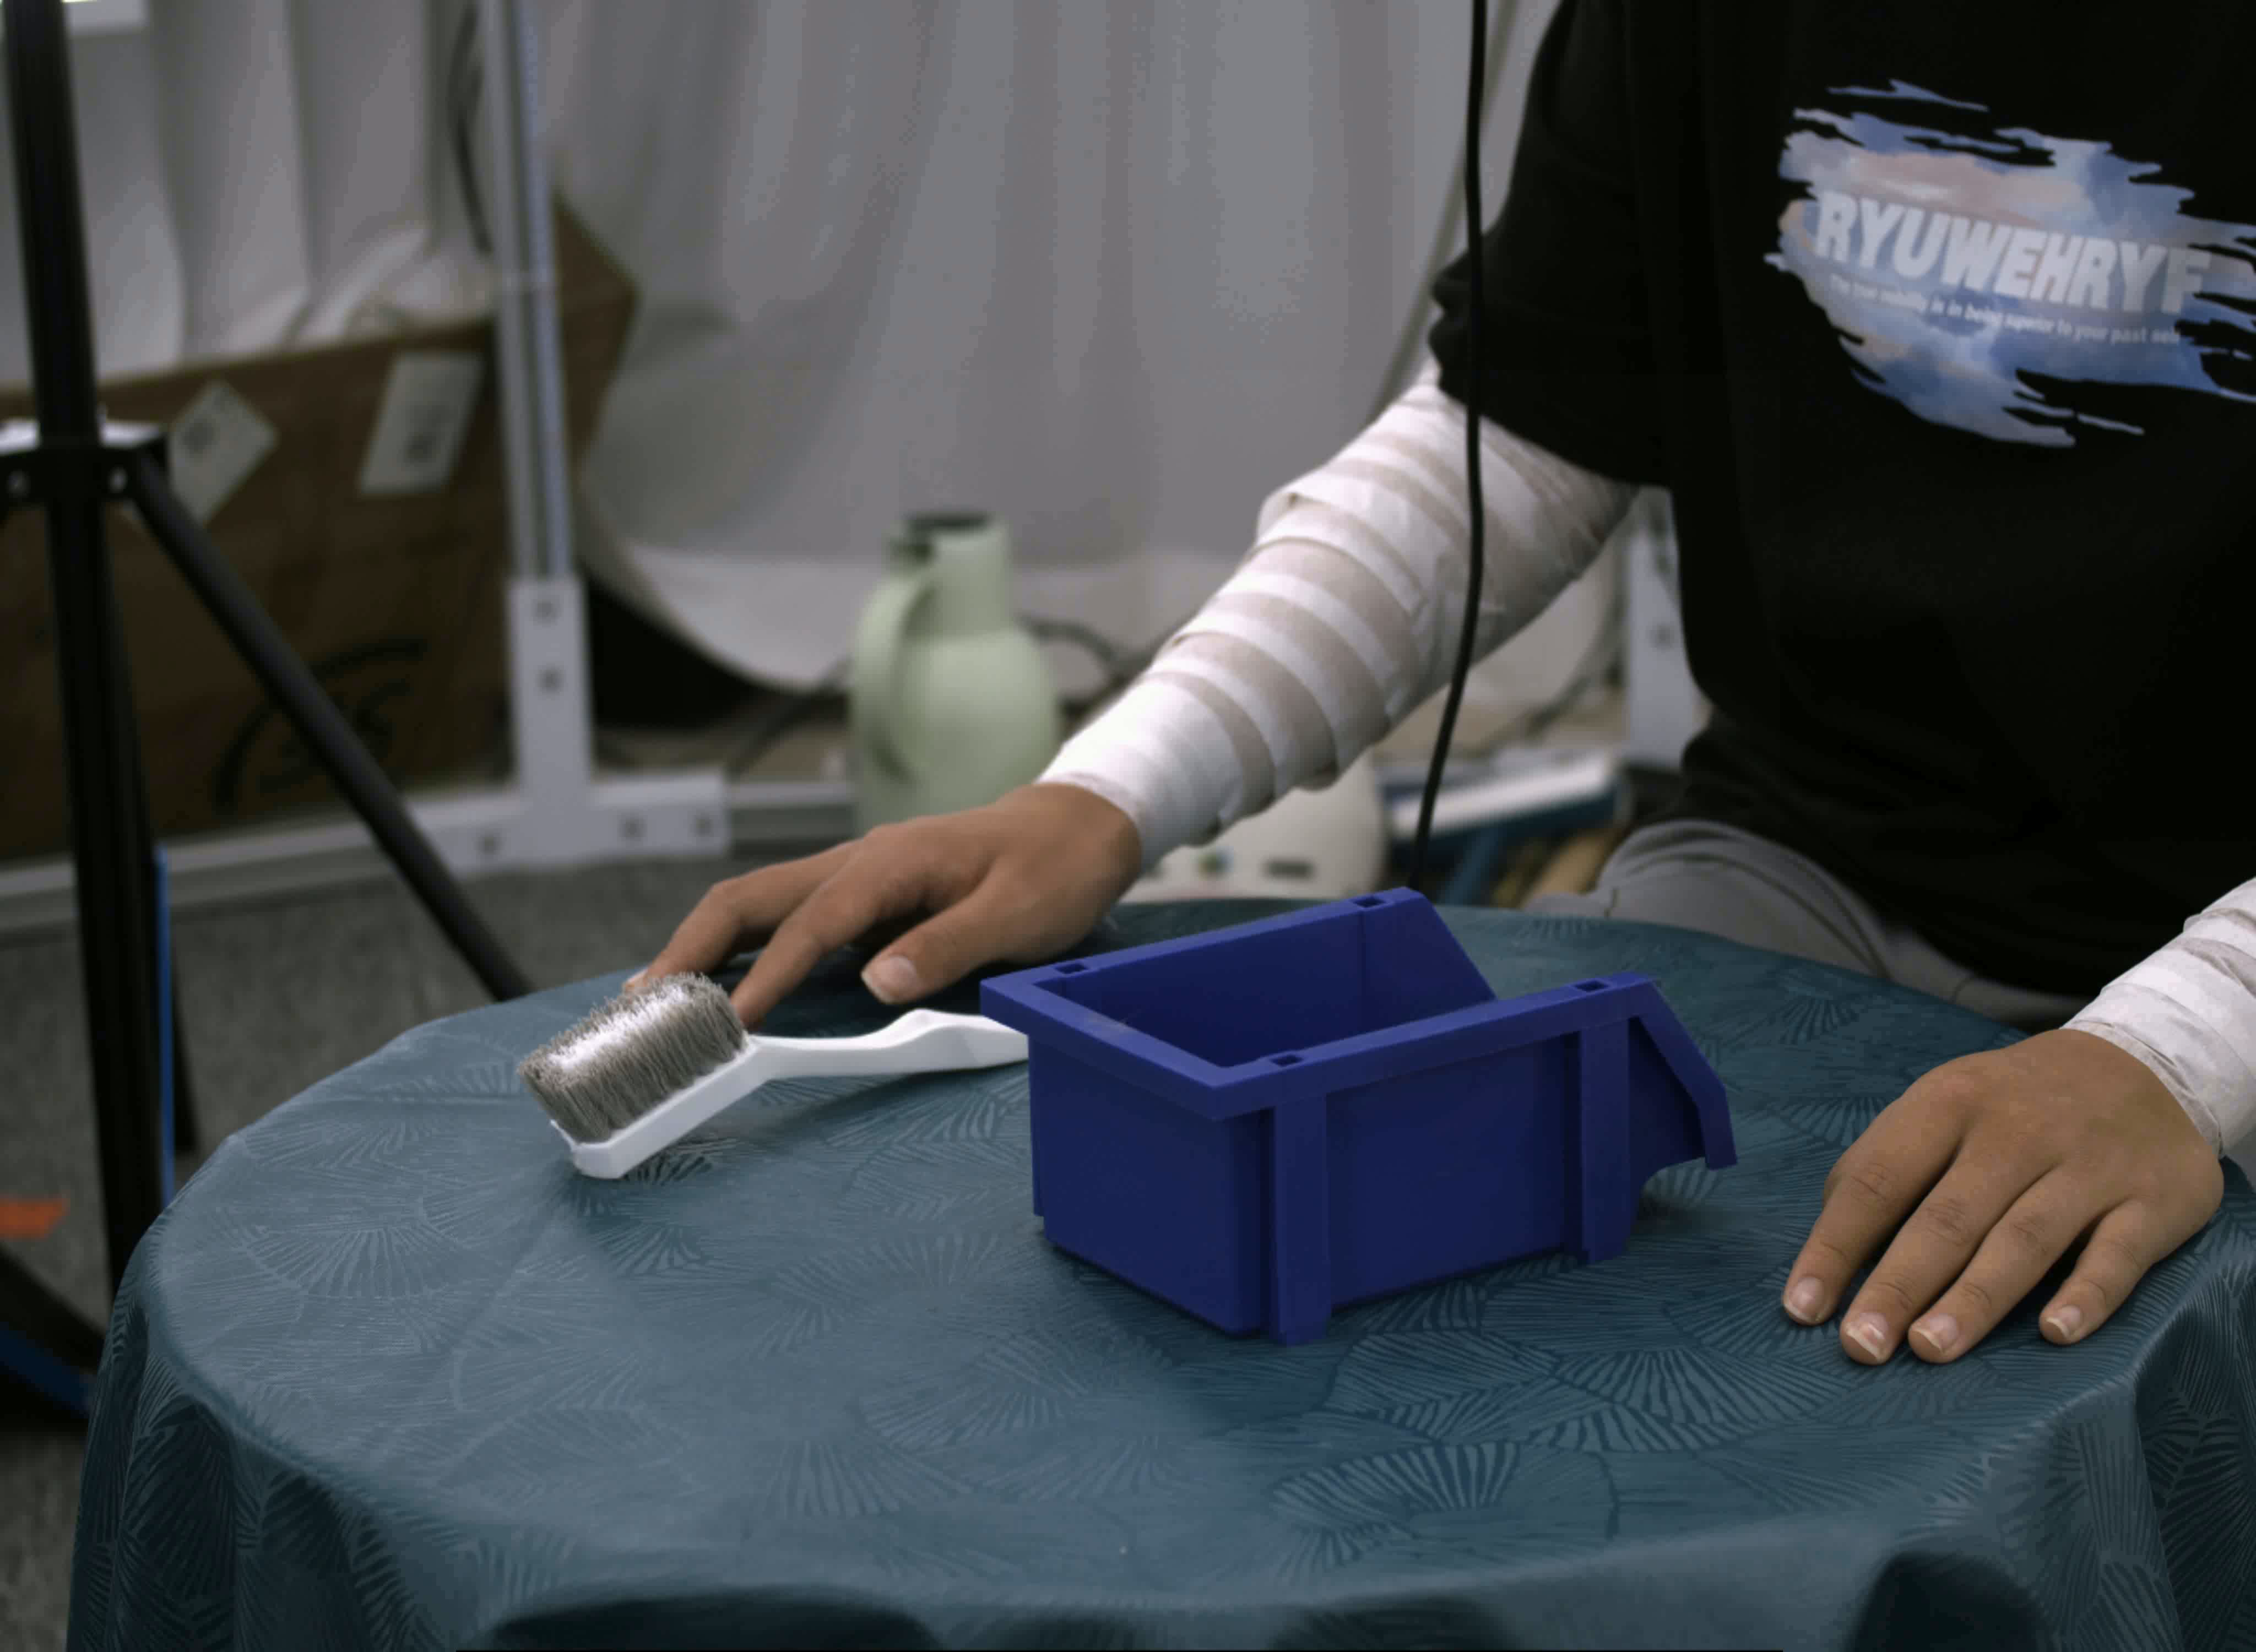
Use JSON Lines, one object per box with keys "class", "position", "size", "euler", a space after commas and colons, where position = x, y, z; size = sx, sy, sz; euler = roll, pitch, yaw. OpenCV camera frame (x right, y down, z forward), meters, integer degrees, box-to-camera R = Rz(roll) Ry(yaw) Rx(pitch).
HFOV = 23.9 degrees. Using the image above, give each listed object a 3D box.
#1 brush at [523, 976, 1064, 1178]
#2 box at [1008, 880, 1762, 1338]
{"class": "brush", "position": [-0.078, 0.059, 1.654], "size": [0.238, 0.050, 0.035], "euler": [-14, 19, -33]}
{"class": "box", "position": [0.073, 0.076, 1.512], "size": [0.175, 0.082, 0.127], "euler": [-12, 18, -28]}
